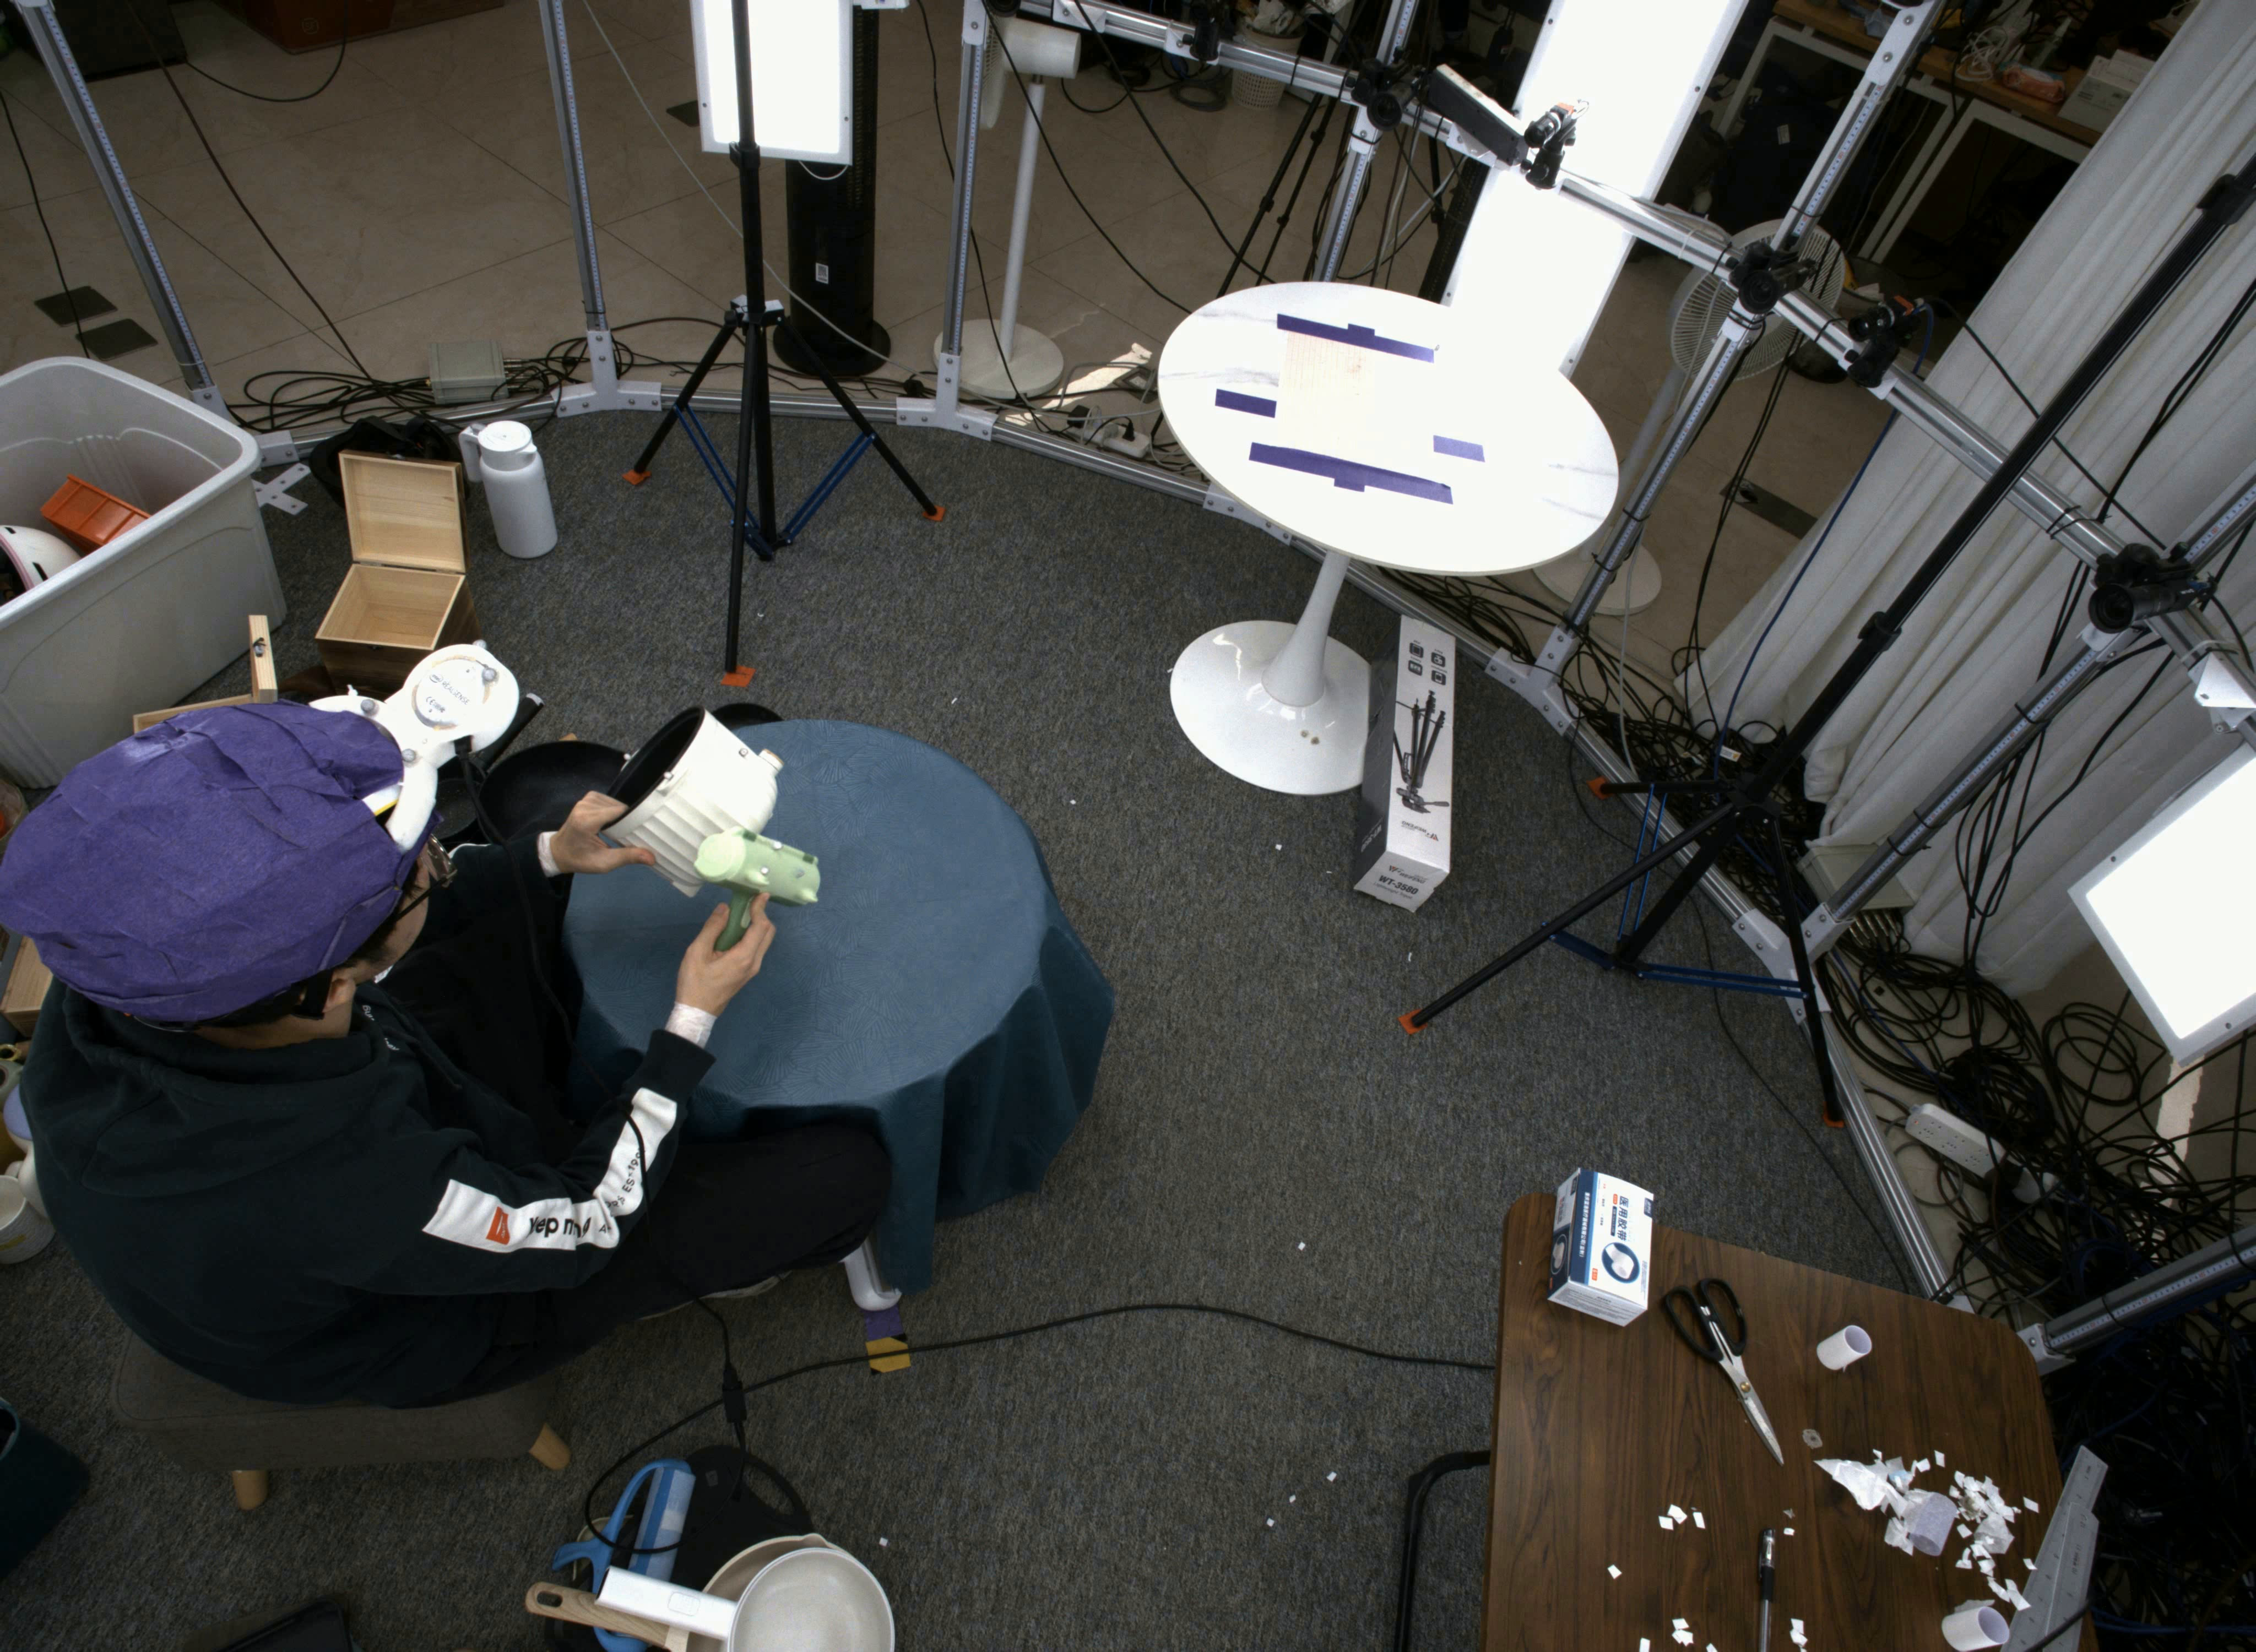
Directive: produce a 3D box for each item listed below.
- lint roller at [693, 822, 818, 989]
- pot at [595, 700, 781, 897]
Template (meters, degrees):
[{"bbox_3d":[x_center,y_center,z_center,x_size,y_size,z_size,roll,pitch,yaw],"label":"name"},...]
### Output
[{"bbox_3d":[-0.423,0.100,1.444,0.080,0.202,0.184,16,83,16],"label":"lint roller"},{"bbox_3d":[-0.498,-0.035,1.475,0.147,0.232,0.190,41,75,-31],"label":"pot"}]
